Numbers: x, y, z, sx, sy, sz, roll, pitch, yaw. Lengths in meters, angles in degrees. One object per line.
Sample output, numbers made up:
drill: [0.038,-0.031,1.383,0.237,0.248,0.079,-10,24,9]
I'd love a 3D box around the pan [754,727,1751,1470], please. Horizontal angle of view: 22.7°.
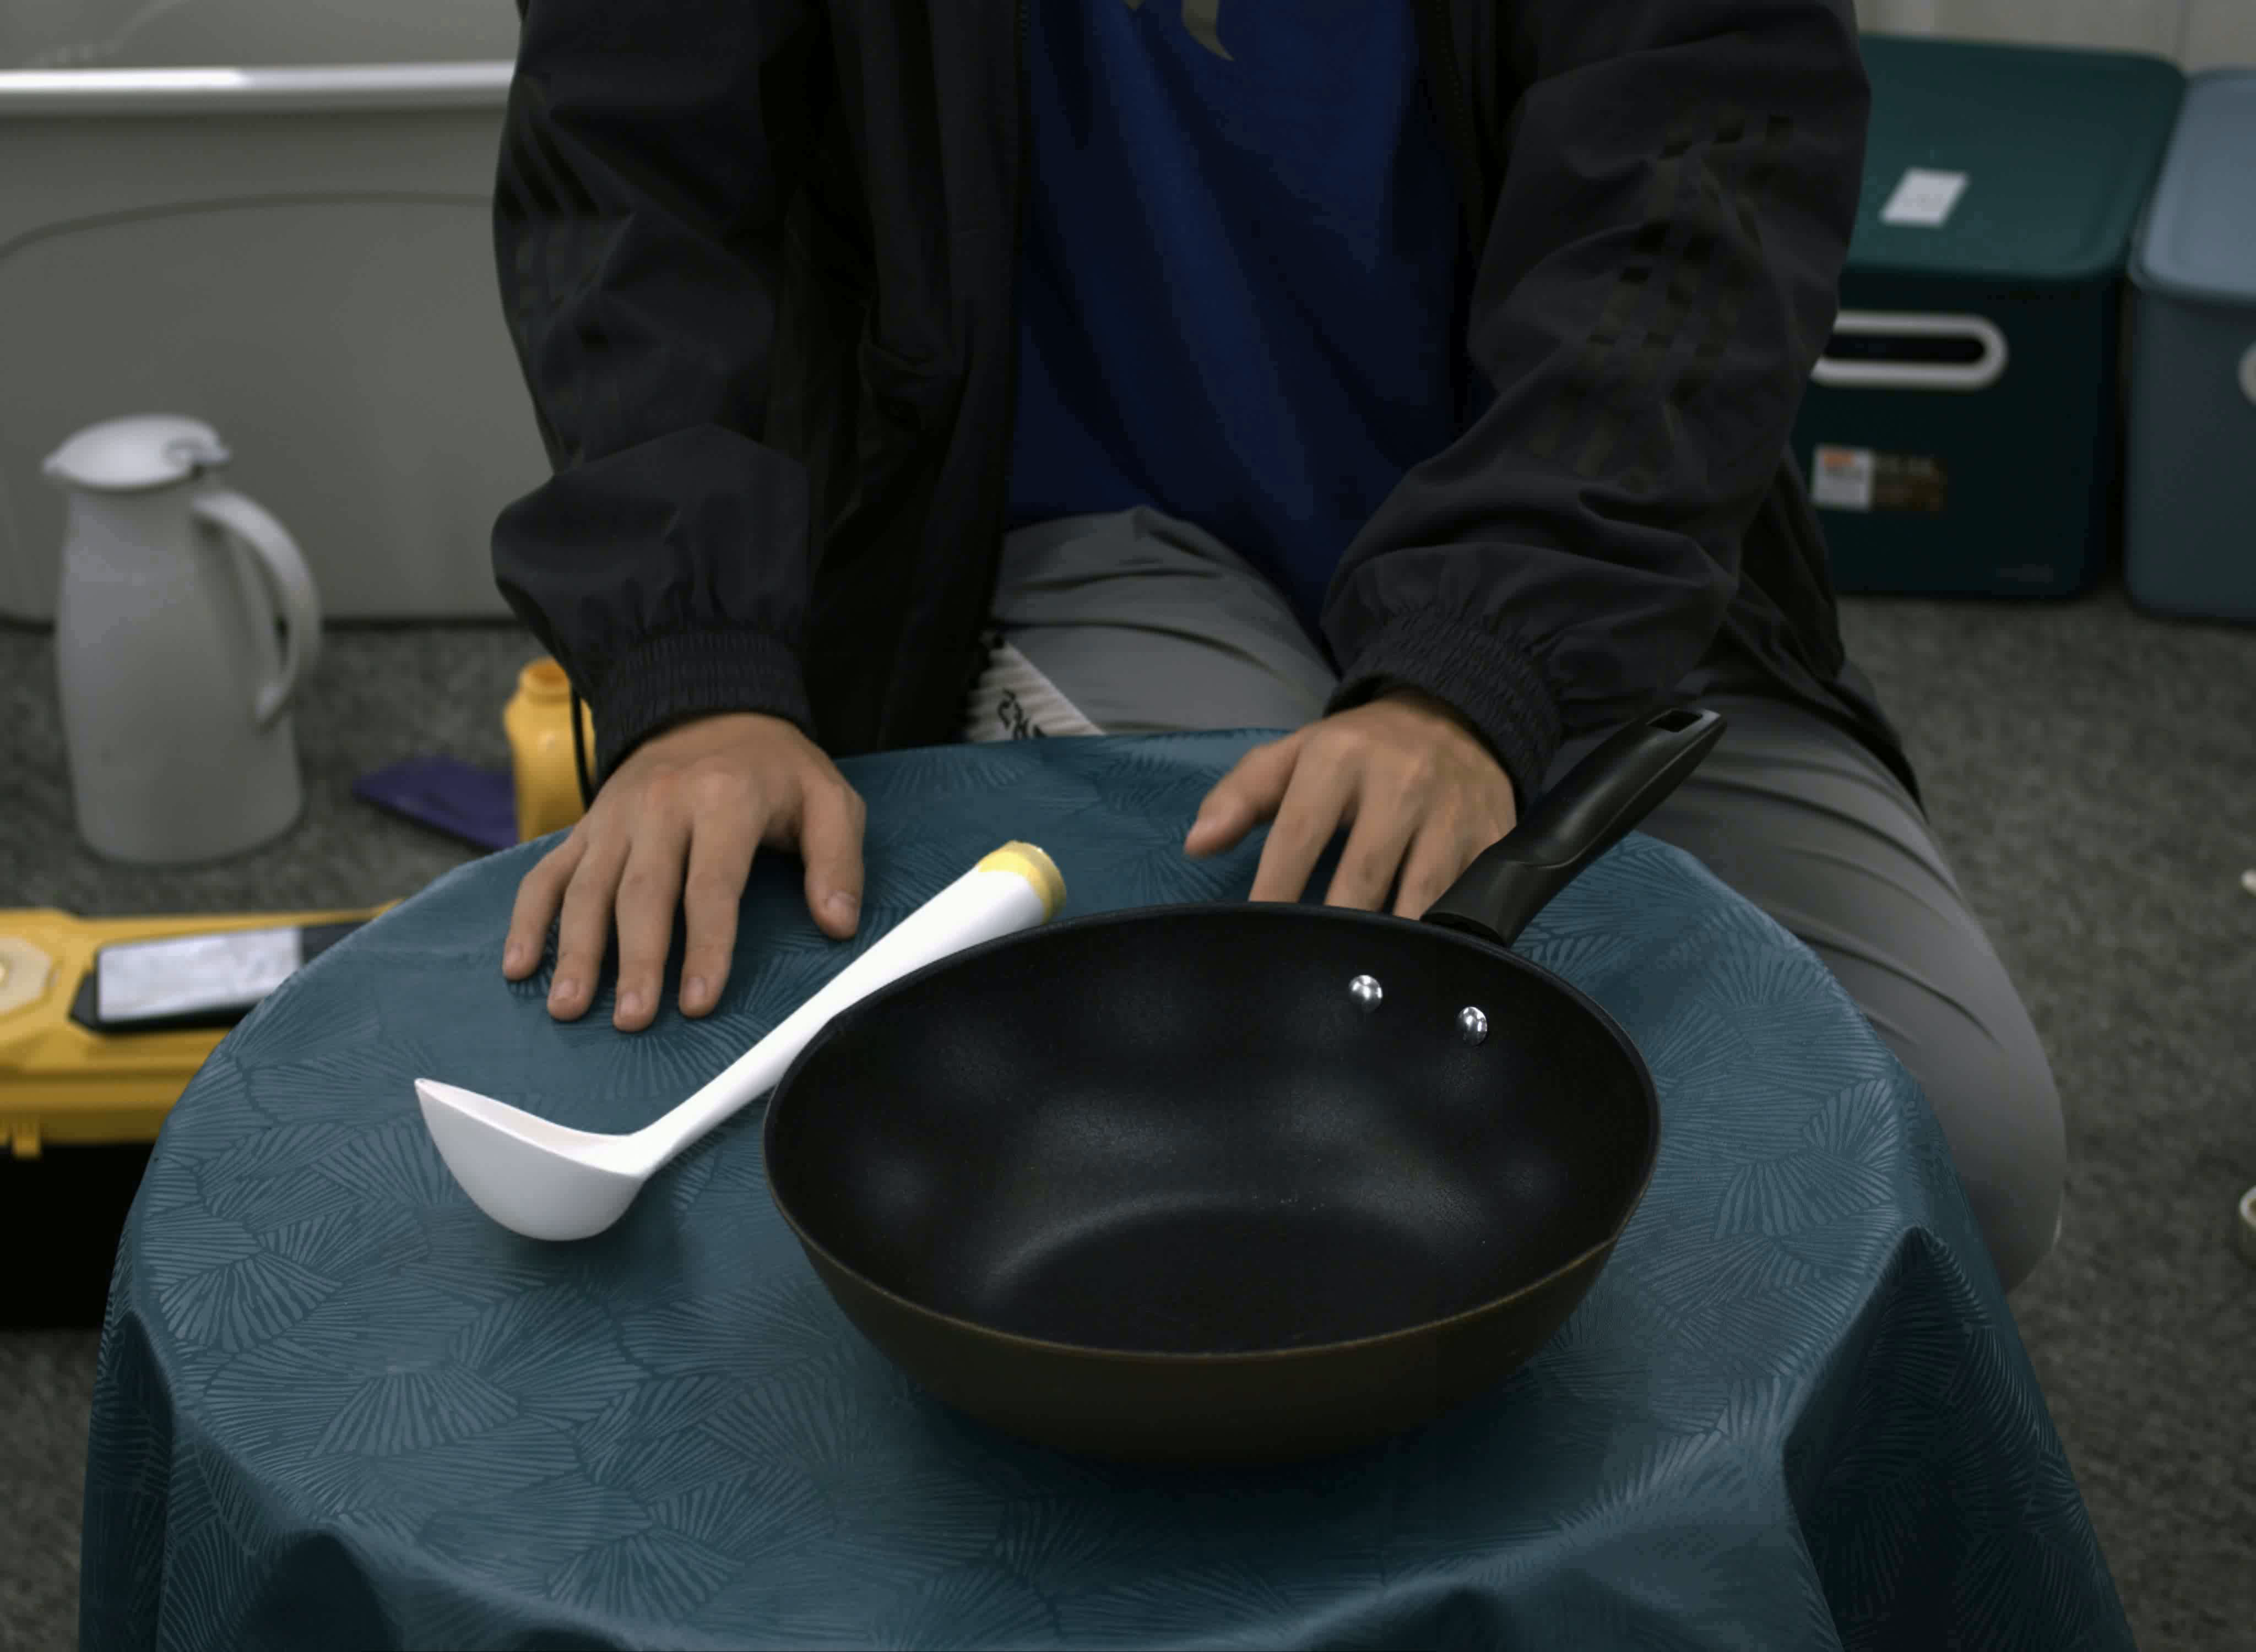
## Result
pan: [0.076,0.087,1.833,0.287,0.086,0.470,15,31,30]

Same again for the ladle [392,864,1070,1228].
ladle: [-0.126,0.063,1.920,0.090,0.069,0.297,16,31,37]
